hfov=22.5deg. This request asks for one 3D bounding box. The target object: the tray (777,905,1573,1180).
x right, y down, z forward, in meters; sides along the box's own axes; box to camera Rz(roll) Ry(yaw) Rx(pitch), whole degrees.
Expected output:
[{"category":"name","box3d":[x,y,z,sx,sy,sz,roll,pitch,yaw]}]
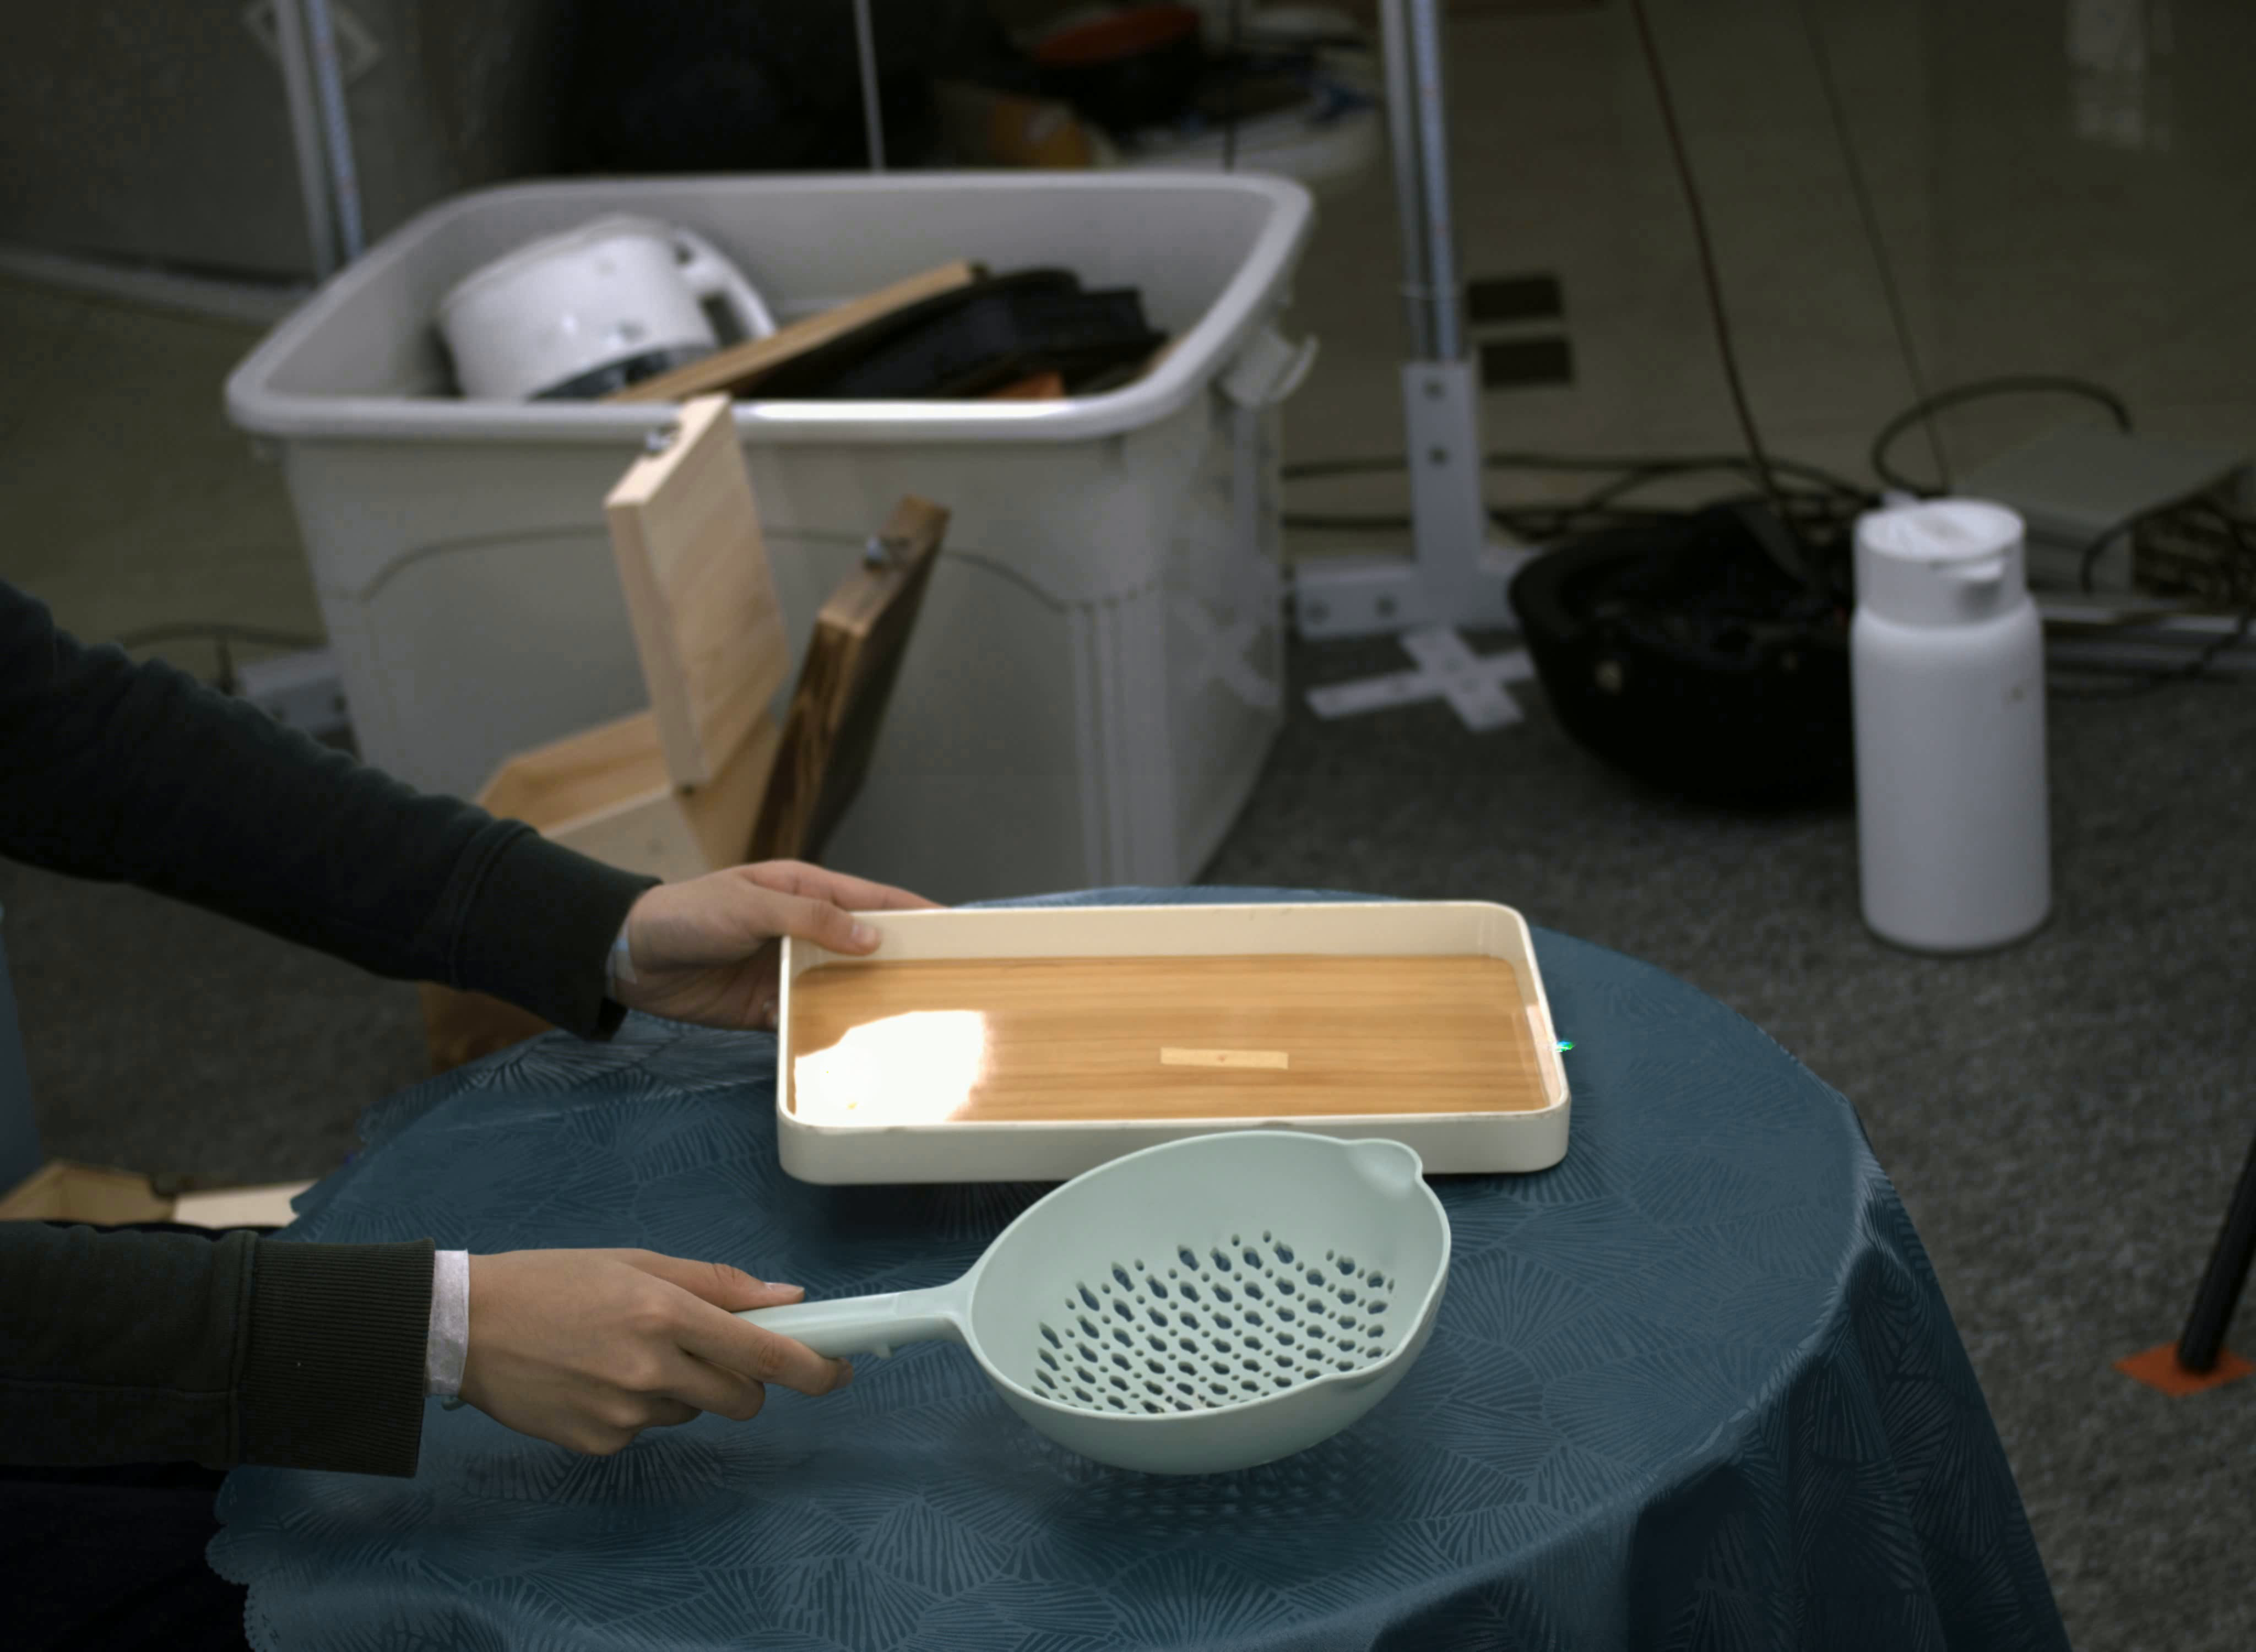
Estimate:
[{"category":"tray","box3d":[0.014,0.083,2.201,0.300,0.028,0.189,0,24,-2]}]

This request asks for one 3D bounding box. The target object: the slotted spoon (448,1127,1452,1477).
[{"category":"slotted spoon","box3d":[-0.066,0.175,1.981,0.358,0.077,0.166,0,31,6]}]
